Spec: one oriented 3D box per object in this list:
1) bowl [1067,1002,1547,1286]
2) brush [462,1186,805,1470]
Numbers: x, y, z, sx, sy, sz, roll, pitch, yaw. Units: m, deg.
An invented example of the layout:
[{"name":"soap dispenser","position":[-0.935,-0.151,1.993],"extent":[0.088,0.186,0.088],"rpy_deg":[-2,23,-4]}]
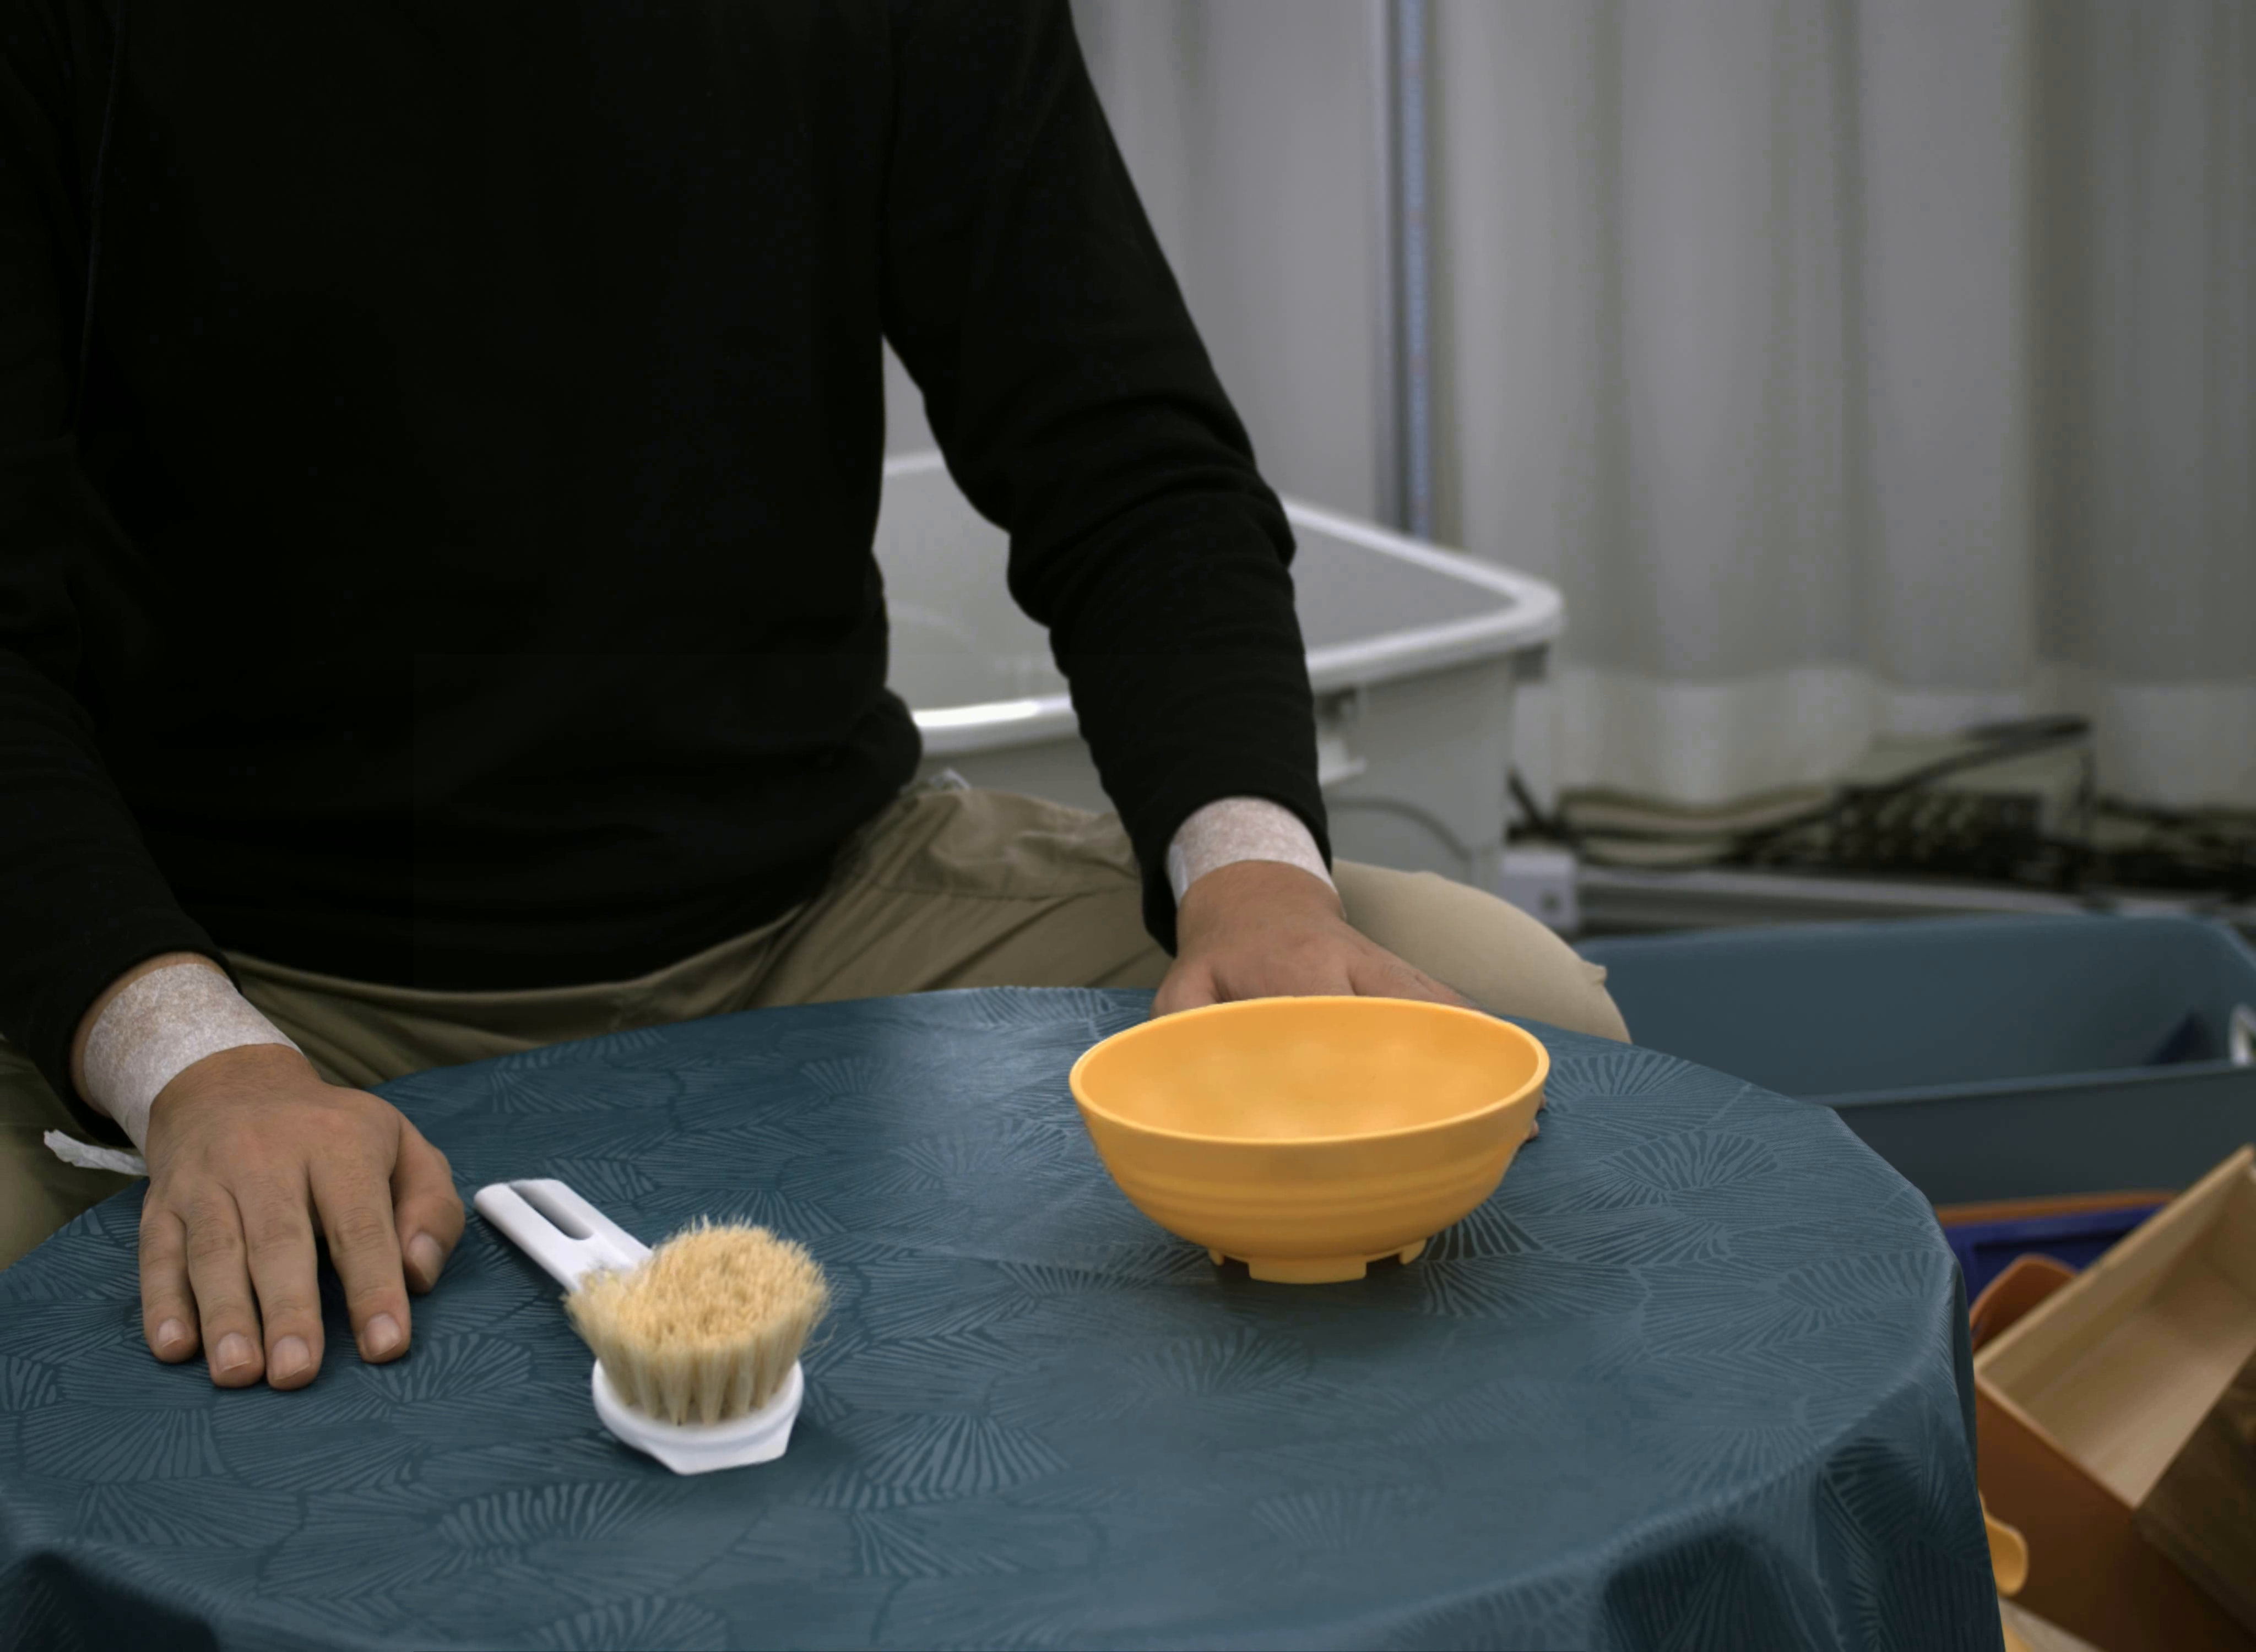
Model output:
[{"name":"bowl","position":[0.054,0.100,1.646],"extent":[0.145,0.060,0.146],"rpy_deg":[-2,14,0]},{"name":"brush","position":[-0.158,0.123,1.610],"extent":[0.068,0.056,0.268],"rpy_deg":[-3,13,-18]}]
